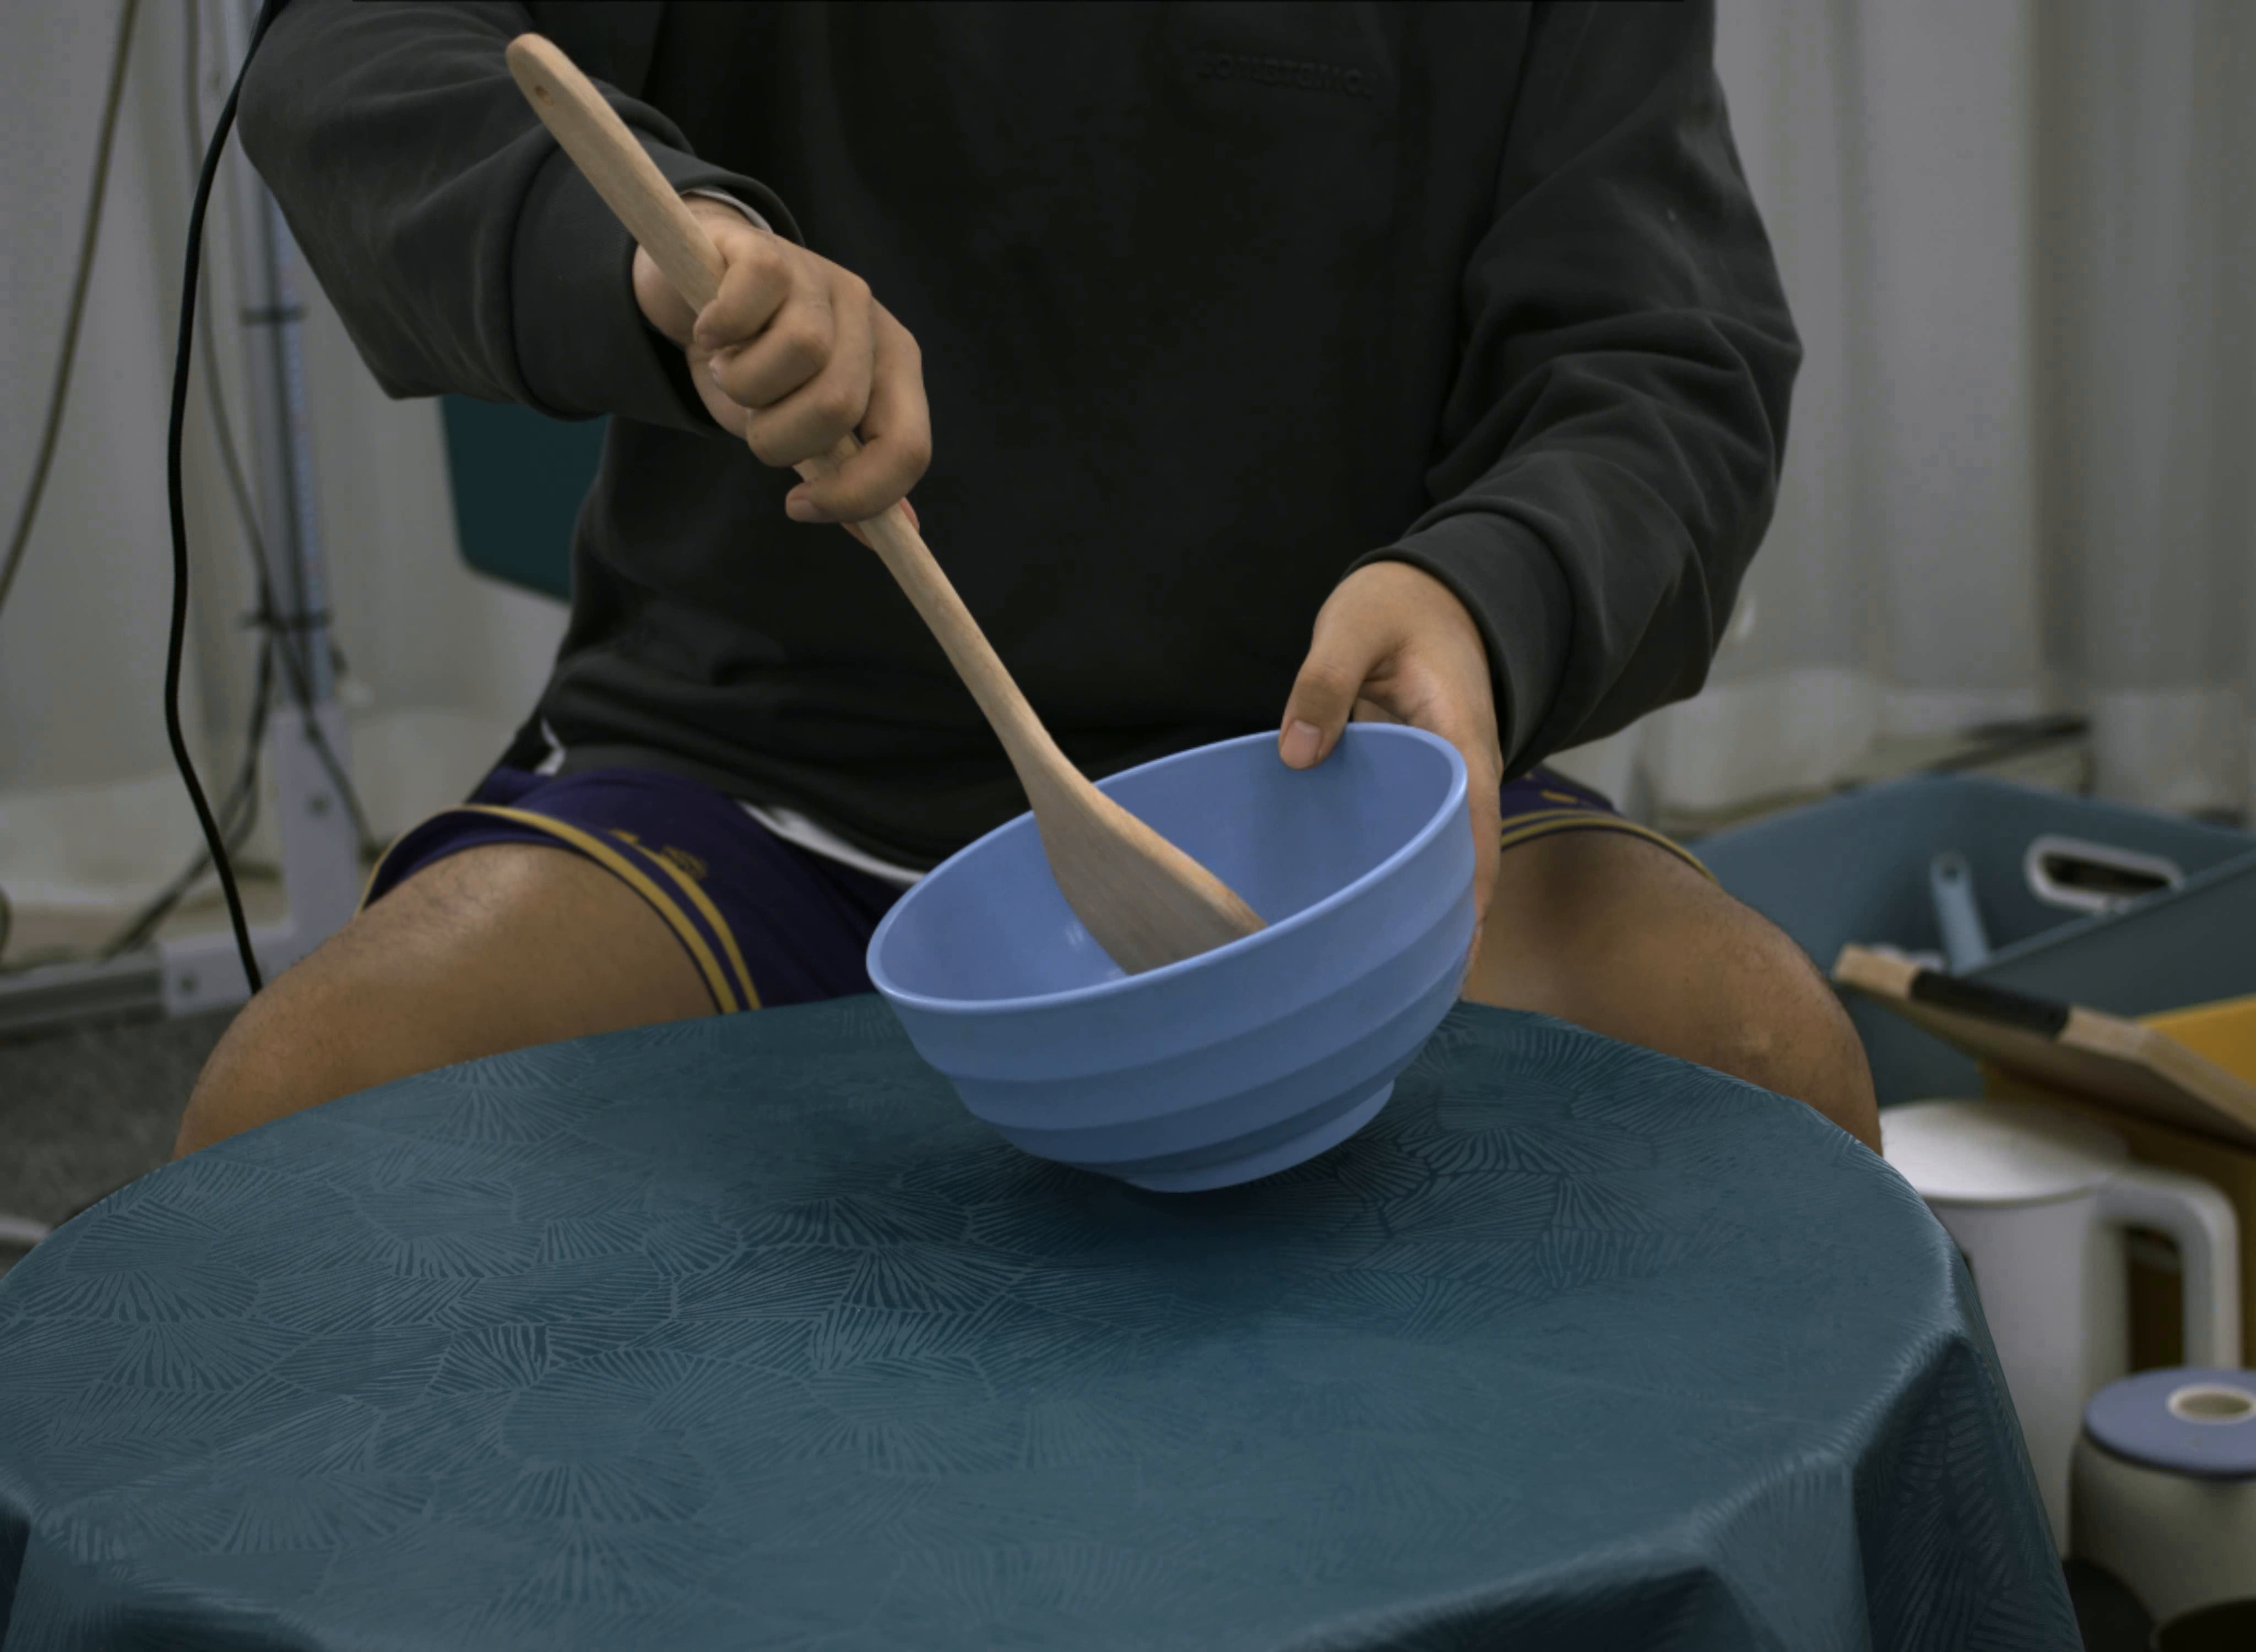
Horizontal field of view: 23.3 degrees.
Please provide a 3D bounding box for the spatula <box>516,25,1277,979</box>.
[{"bbox_3d":[-0.065,-0.083,1.666,0.018,0.388,0.096,-42,15,-27],"label":"spatula"}]

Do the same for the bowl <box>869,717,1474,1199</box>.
[{"bbox_3d":[0.026,0.053,1.709,0.196,0.095,0.198,-20,19,7],"label":"bowl"}]
